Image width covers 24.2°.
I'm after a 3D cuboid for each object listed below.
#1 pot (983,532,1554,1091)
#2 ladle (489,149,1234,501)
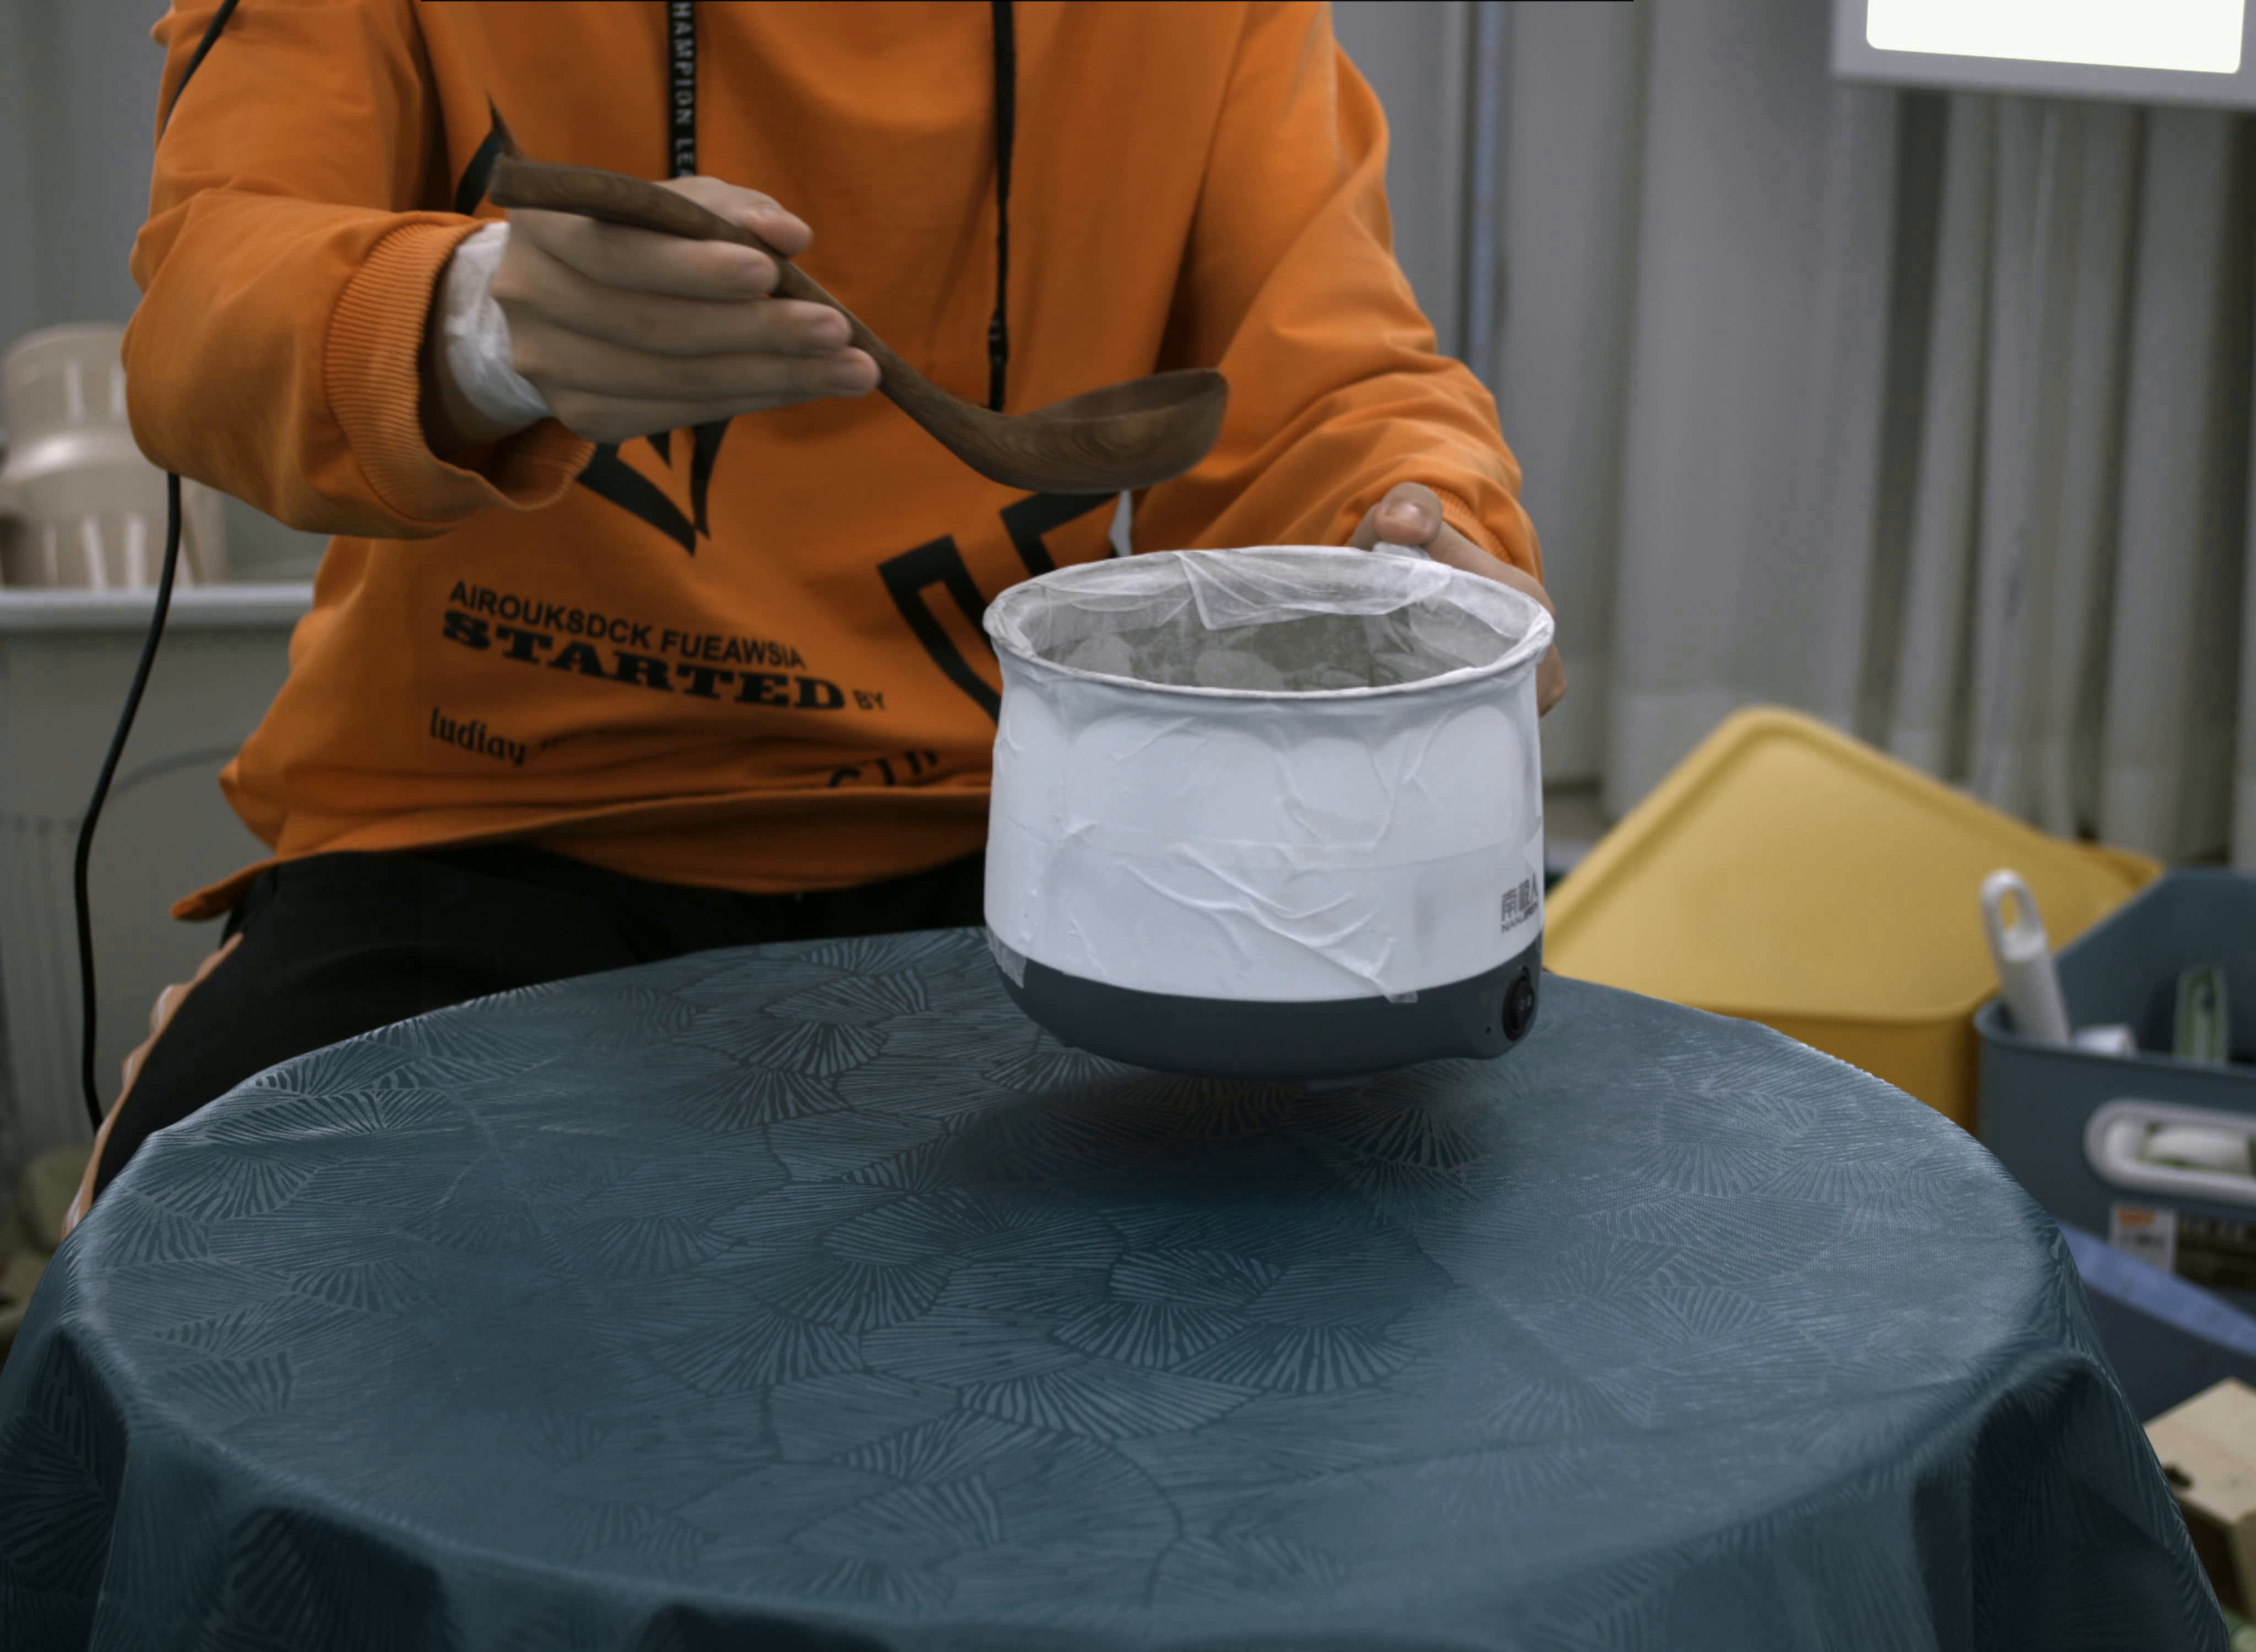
[{"bbox_3d":[0.054,-0.012,1.675,0.177,0.138,0.234,9,19,23],"label":"pot"},{"bbox_3d":[-0.077,-0.161,1.575,0.263,0.065,0.076,28,-20,-33],"label":"ladle"}]
